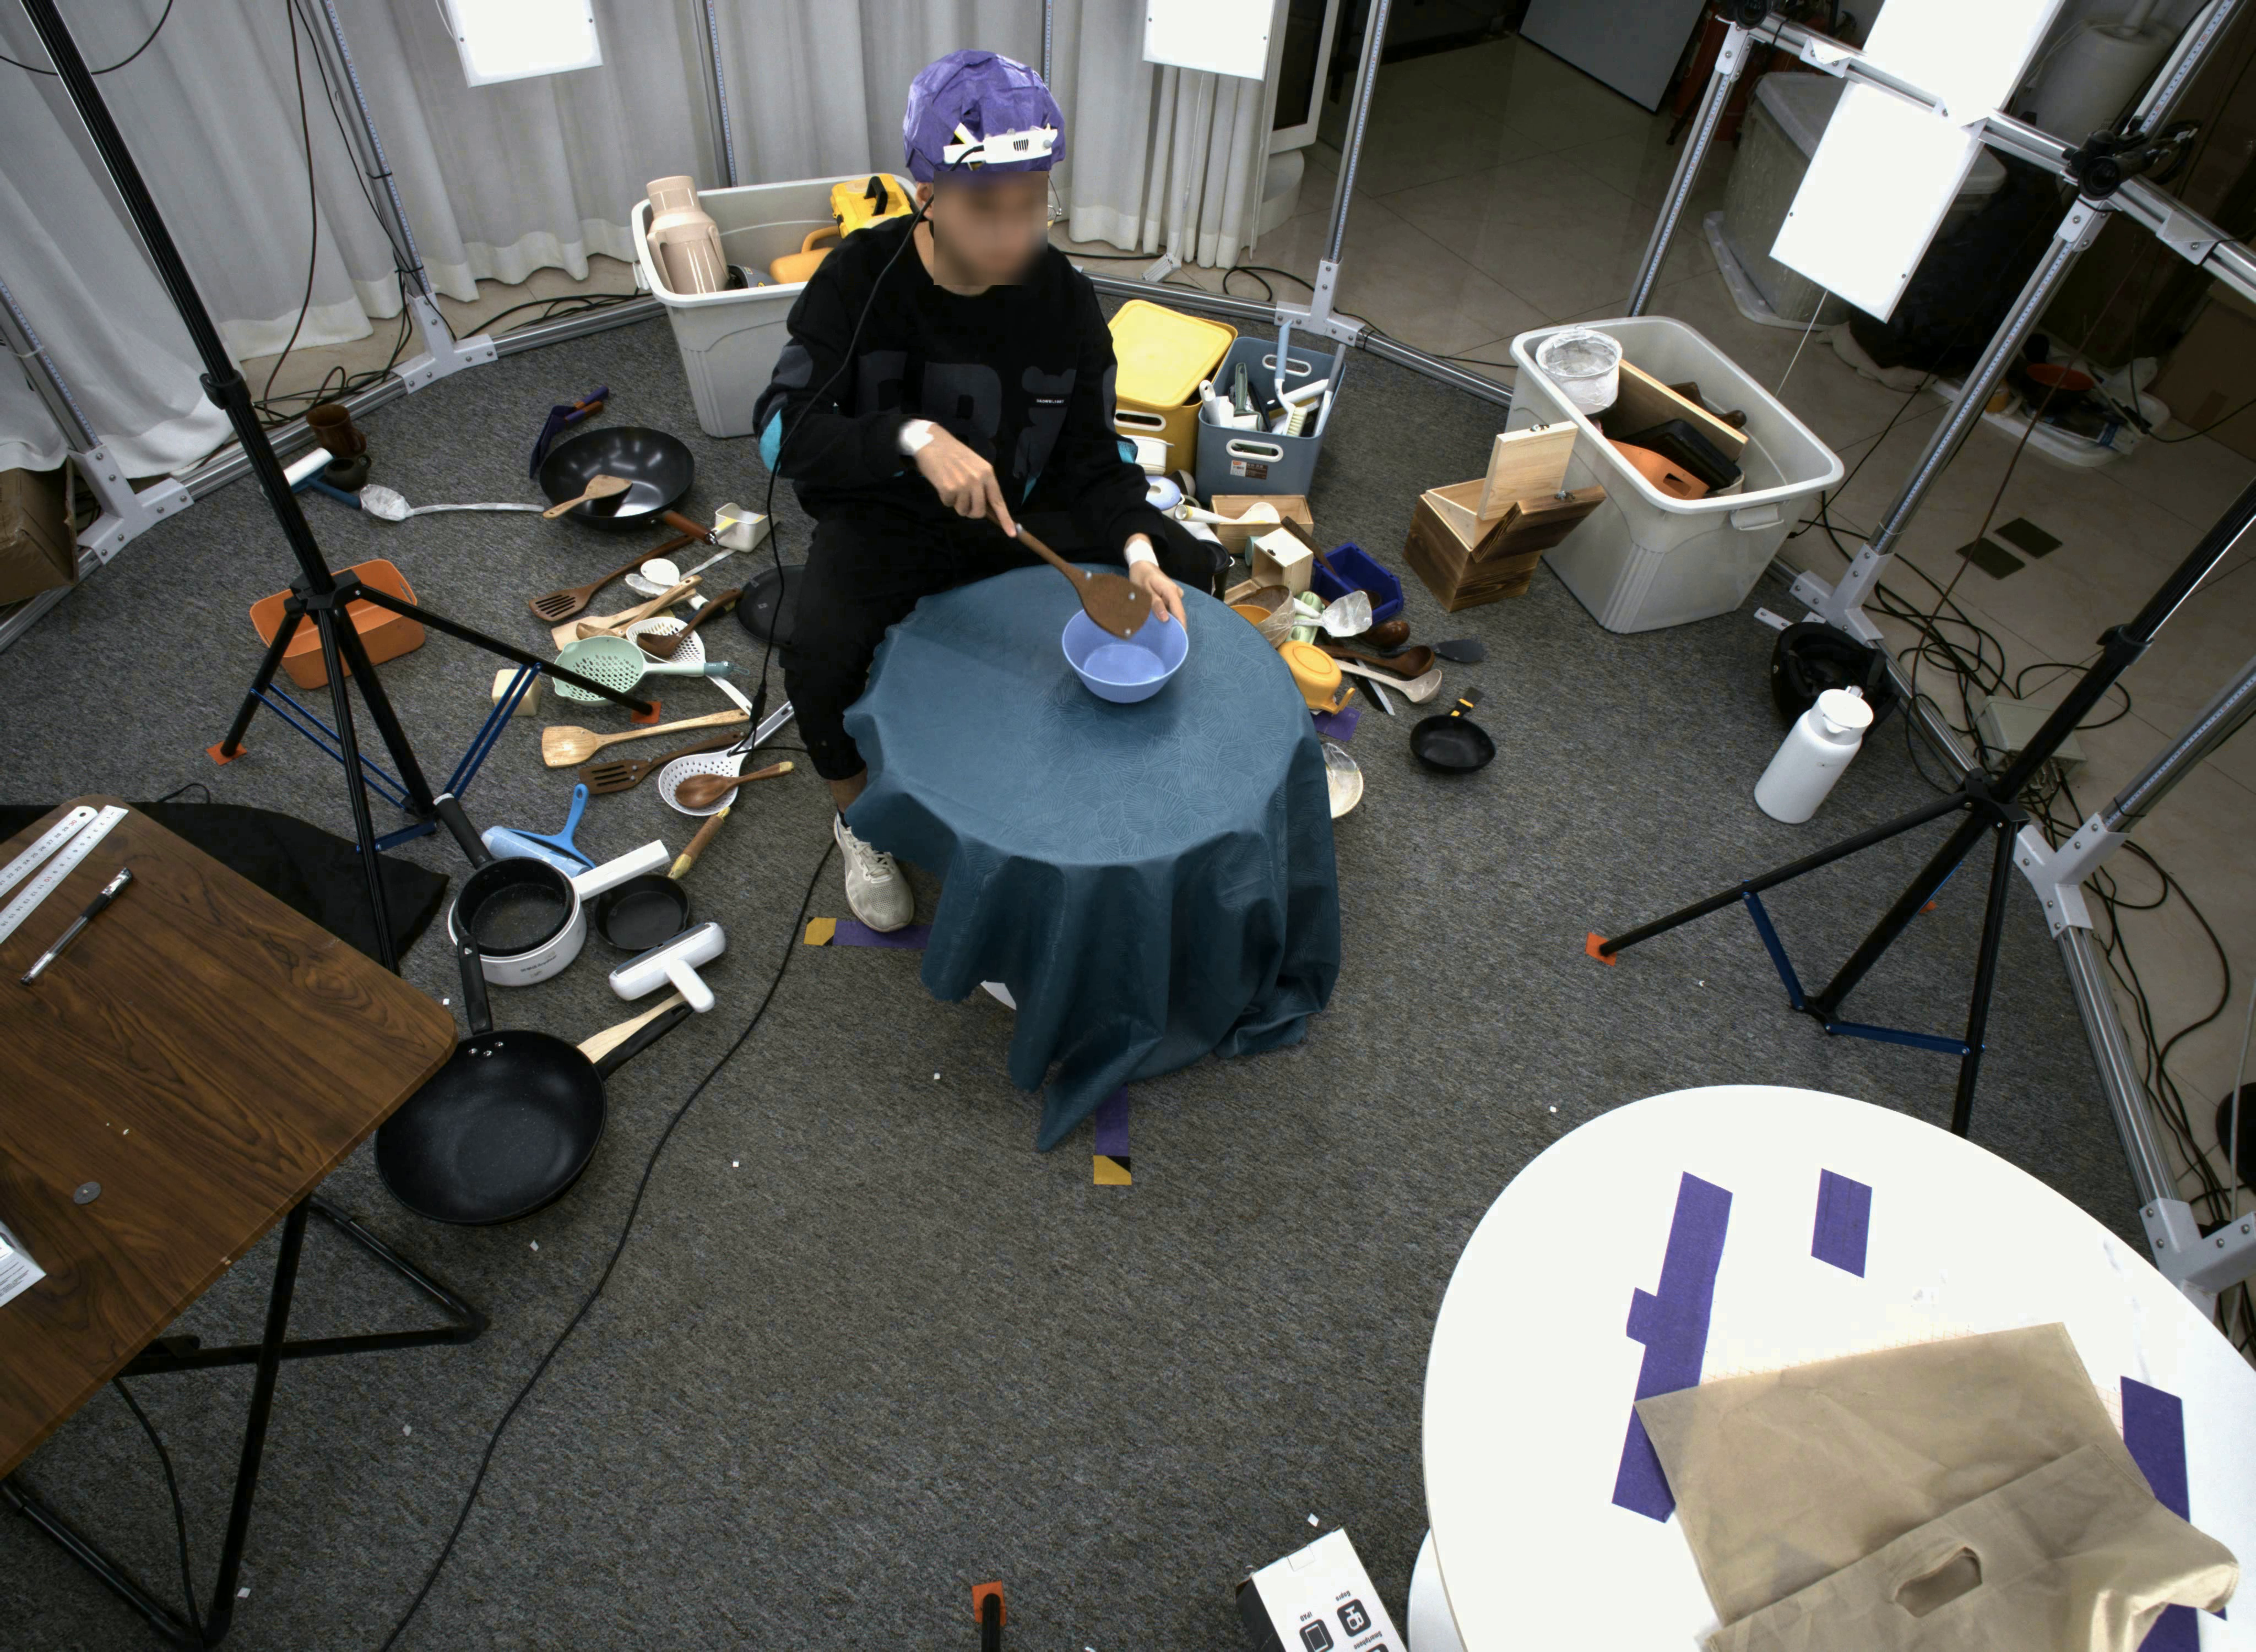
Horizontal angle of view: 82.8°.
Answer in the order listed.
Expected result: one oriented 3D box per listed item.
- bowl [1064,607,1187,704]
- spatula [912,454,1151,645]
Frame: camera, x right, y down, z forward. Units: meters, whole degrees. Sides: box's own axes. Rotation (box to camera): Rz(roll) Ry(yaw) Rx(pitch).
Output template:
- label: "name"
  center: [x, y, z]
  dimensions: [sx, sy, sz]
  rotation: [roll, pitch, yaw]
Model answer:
- label: "bowl"
  center: [-0.005, -0.236, 1.835]
  dimensions: [0.176, 0.068, 0.180]
  rotation: [1, 48, -1]
- label: "spatula"
  center: [-0.132, -0.383, 1.757]
  dimensions: [0.384, 0.015, 0.098]
  rotation: [36, 57, -8]
